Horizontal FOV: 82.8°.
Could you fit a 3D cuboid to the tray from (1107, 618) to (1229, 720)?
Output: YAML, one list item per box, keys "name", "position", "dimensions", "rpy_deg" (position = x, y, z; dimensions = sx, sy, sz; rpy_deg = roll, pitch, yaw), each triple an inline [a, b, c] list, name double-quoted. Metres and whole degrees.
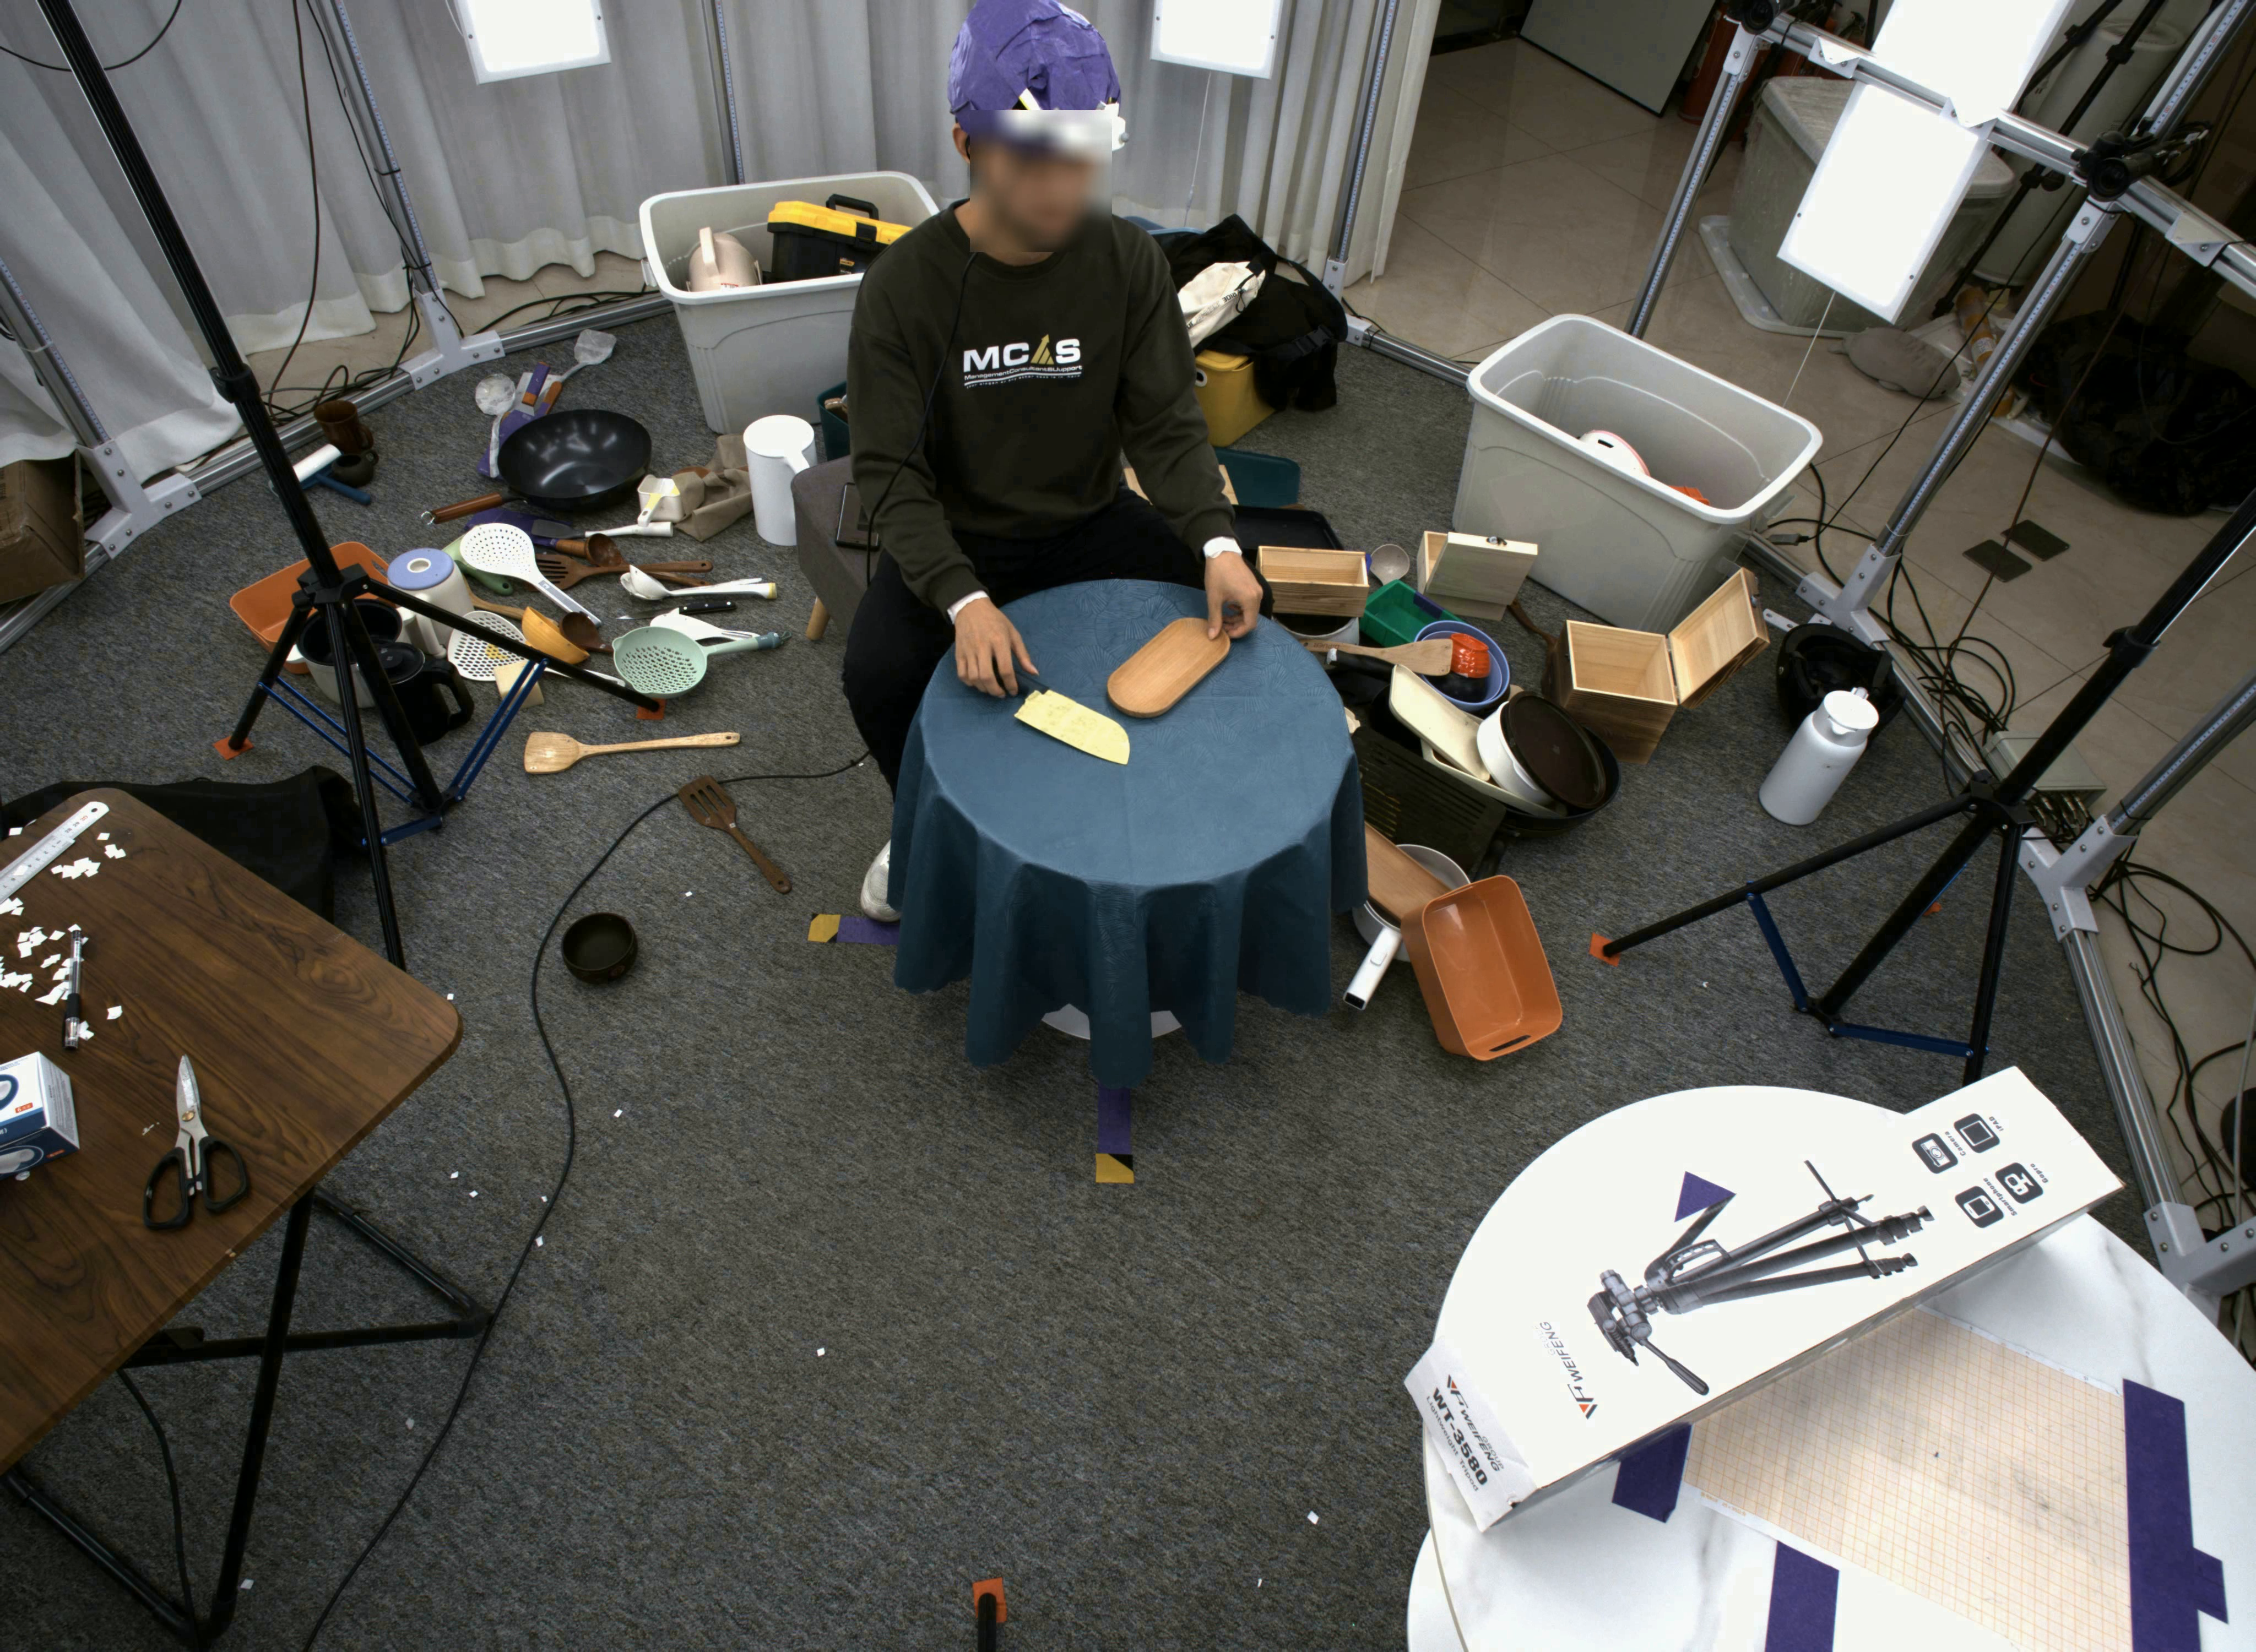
- name: "tray"
  position: [0.060, -0.229, 1.860]
  dimensions: [0.103, 0.020, 0.234]
  rpy_deg: [30, 55, 22]

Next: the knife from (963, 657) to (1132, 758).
- name: "knife"
  position: [-0.118, -0.165, 1.793]
  dimensions: [0.292, 0.026, 0.082]
  rpy_deg: [28, 50, 18]
